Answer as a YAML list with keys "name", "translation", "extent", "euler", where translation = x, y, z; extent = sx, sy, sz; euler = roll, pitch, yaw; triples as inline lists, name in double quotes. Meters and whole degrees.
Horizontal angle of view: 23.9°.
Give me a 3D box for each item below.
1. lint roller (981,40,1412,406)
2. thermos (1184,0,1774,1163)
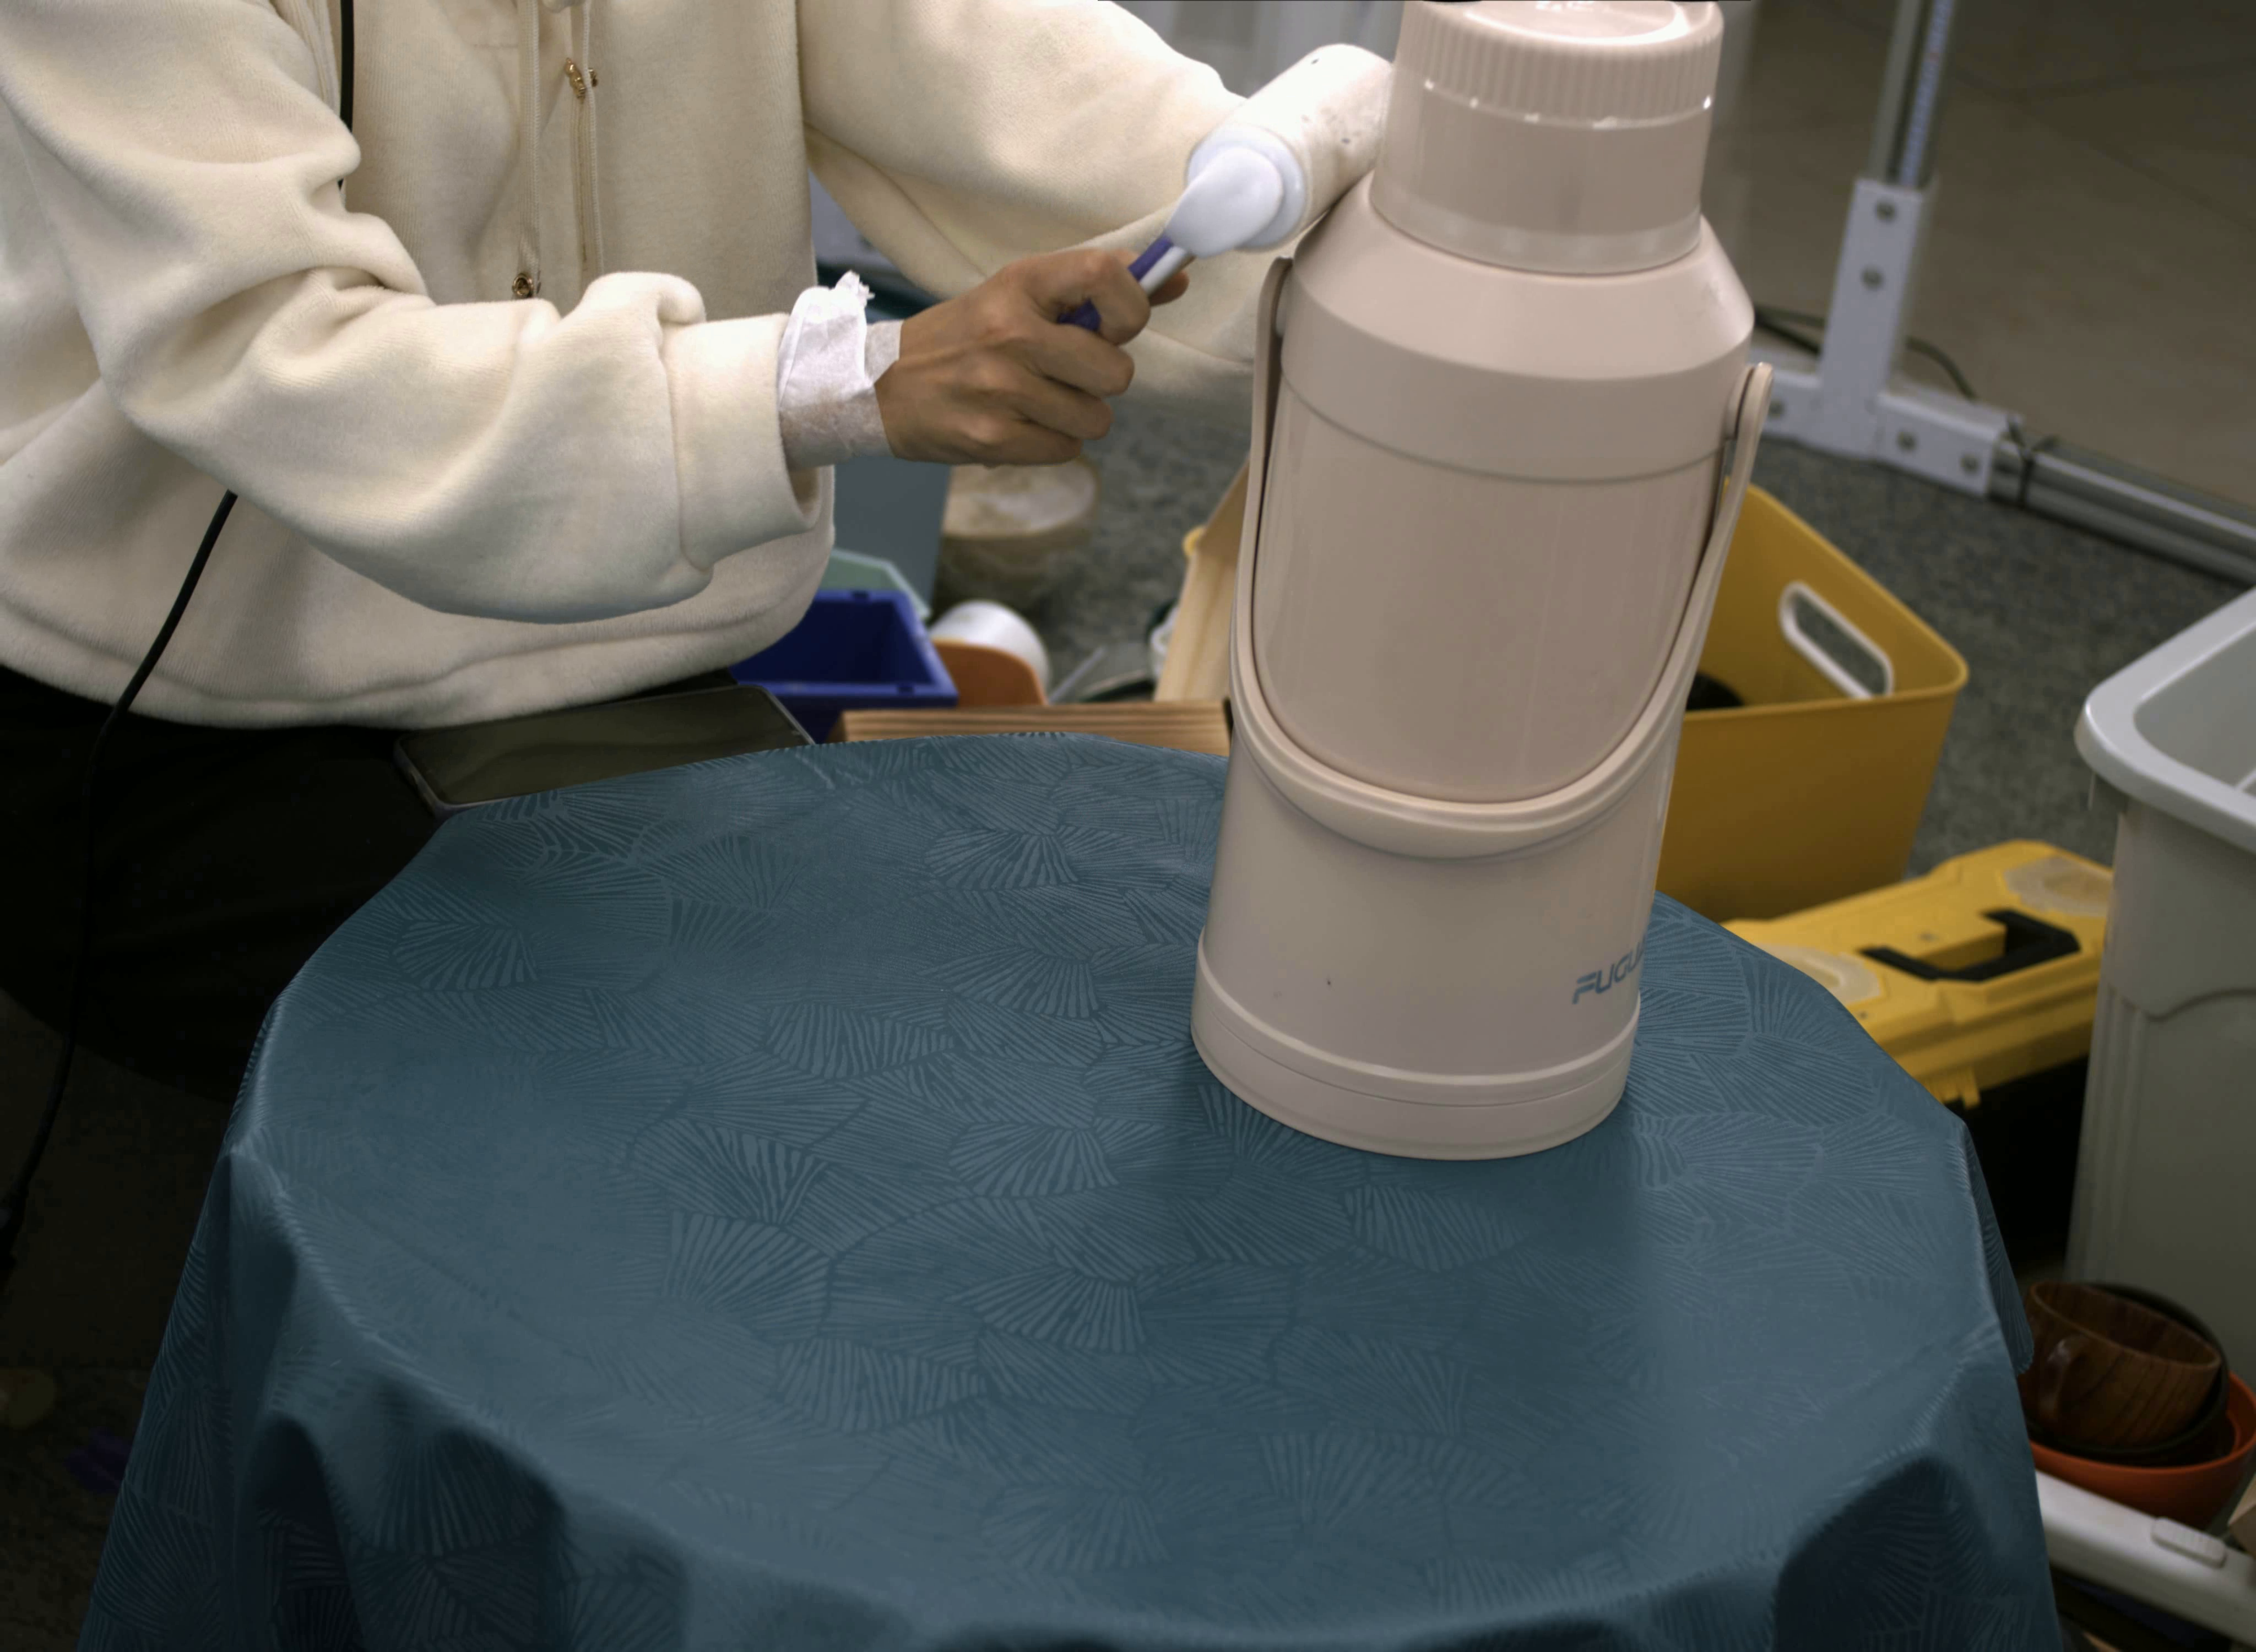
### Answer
- name: "lint roller"
  translation: [0.010, -0.205, 1.836]
  extent: [0.181, 0.050, 0.133]
  euler: [-27, 9, 32]
- name: "thermos"
  translation: [0.126, -0.100, 1.834]
  extent: [0.175, 0.405, 0.207]
  euler: [13, 27, 14]
